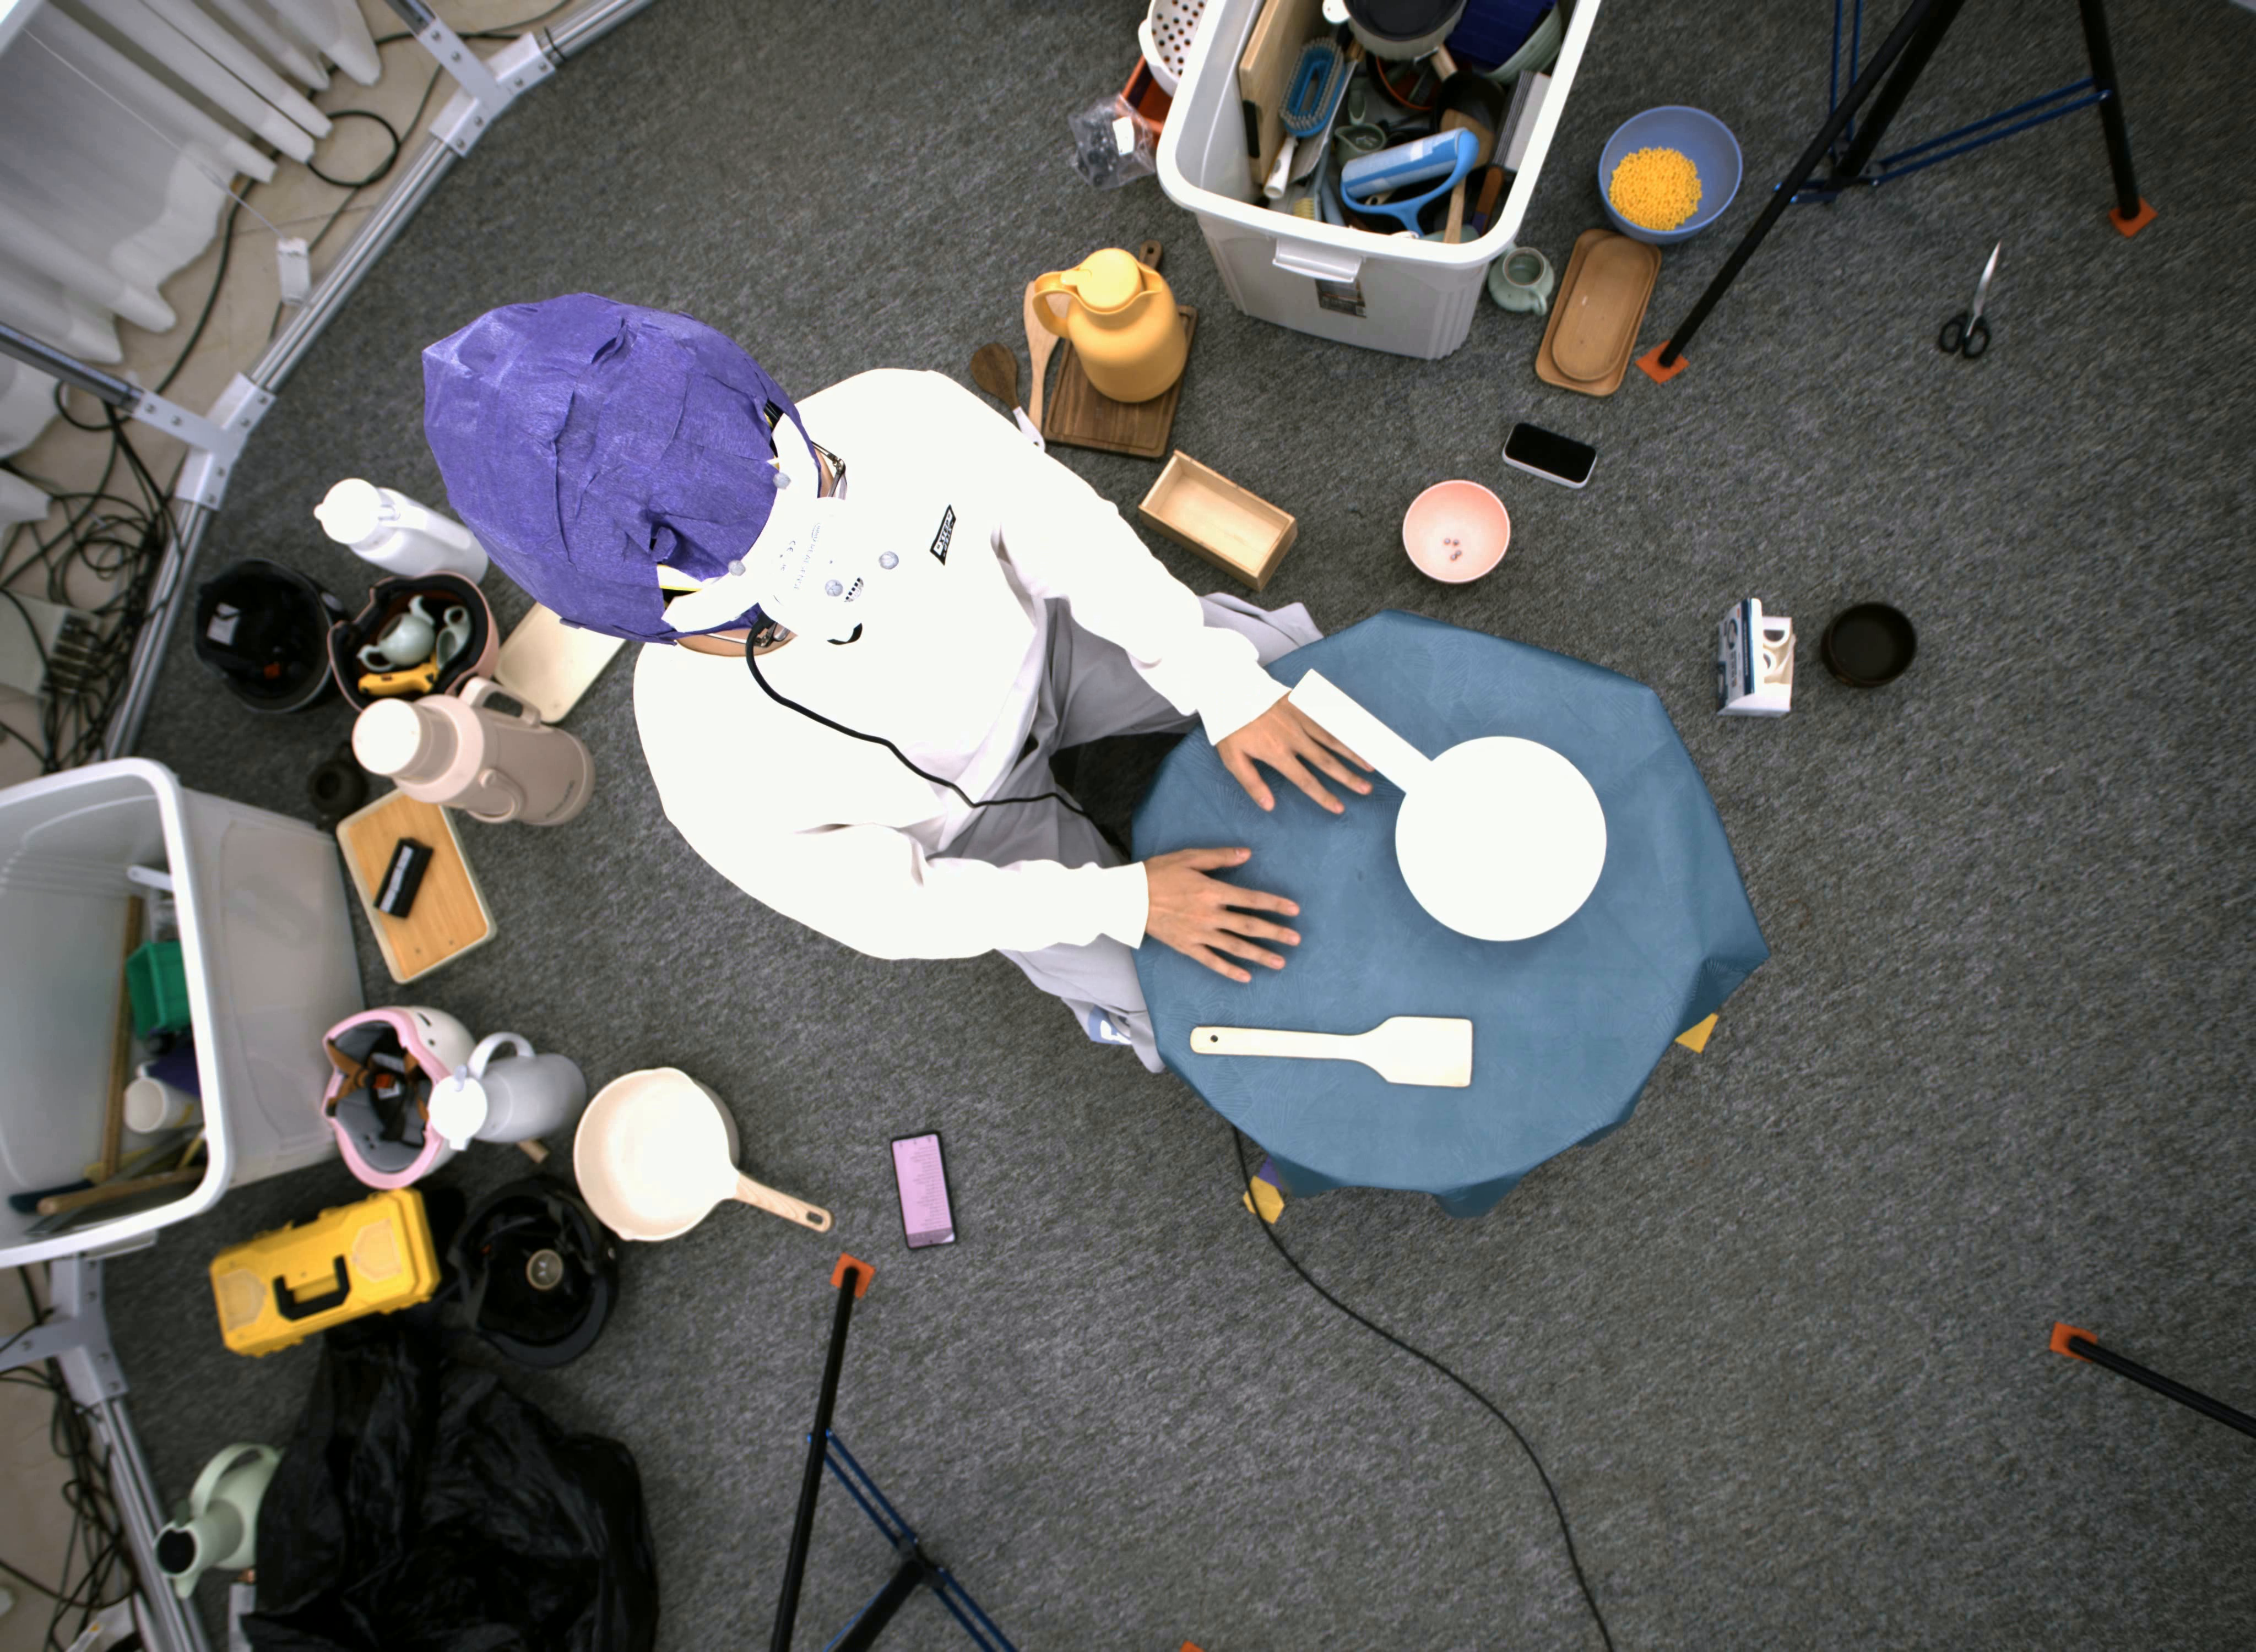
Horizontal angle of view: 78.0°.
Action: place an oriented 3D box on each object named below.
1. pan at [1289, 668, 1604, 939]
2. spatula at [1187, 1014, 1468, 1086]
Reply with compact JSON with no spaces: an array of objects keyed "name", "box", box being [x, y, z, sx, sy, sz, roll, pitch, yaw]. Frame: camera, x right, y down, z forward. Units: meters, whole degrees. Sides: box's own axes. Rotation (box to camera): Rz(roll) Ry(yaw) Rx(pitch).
[{"name":"pan","box":[0.315,-0.034,1.409,0.353,0.102,0.202,39,95,12]},{"name":"spatula","box":[0.208,0.229,1.458,0.294,0.010,0.072,1,88,11]}]
